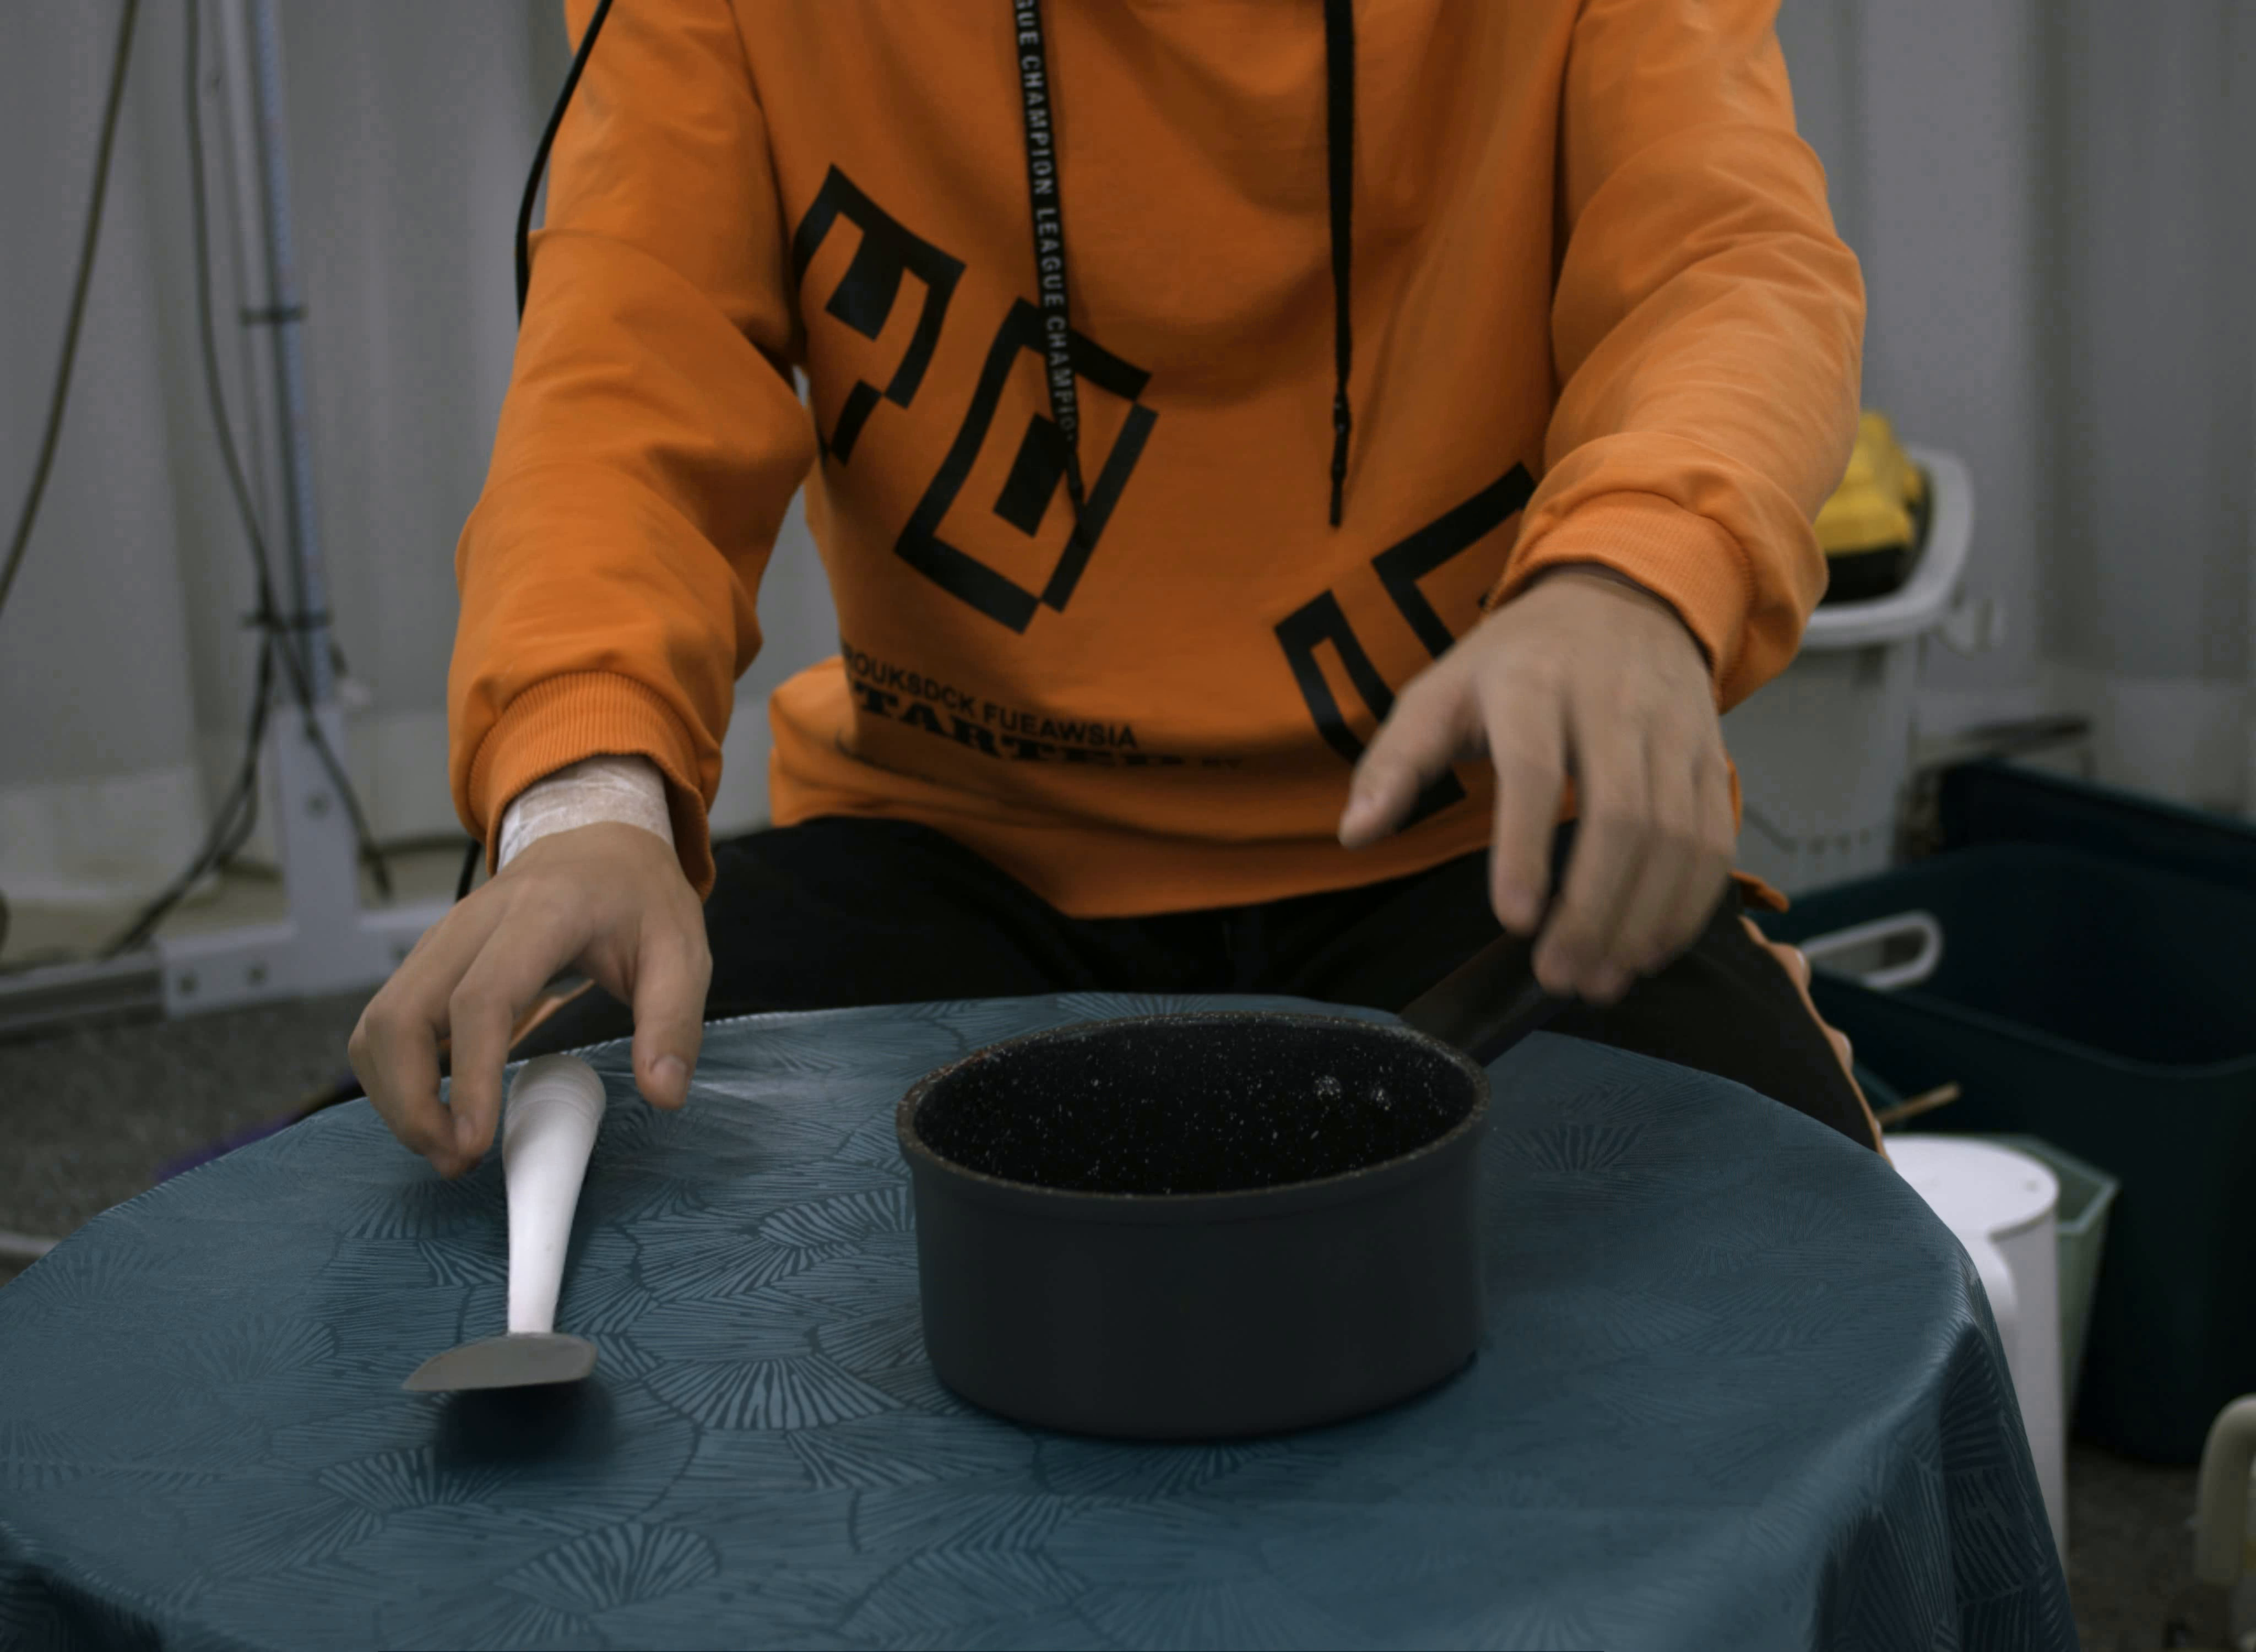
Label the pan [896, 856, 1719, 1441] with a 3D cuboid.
[{"bbox_3d":[0.071,0.092,1.625,0.173,0.086,0.328,10,22,39],"label":"pan"}]

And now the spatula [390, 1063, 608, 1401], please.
[{"bbox_3d":[-0.180,0.128,1.641,0.058,0.032,0.289,0,14,-2],"label":"spatula"}]
